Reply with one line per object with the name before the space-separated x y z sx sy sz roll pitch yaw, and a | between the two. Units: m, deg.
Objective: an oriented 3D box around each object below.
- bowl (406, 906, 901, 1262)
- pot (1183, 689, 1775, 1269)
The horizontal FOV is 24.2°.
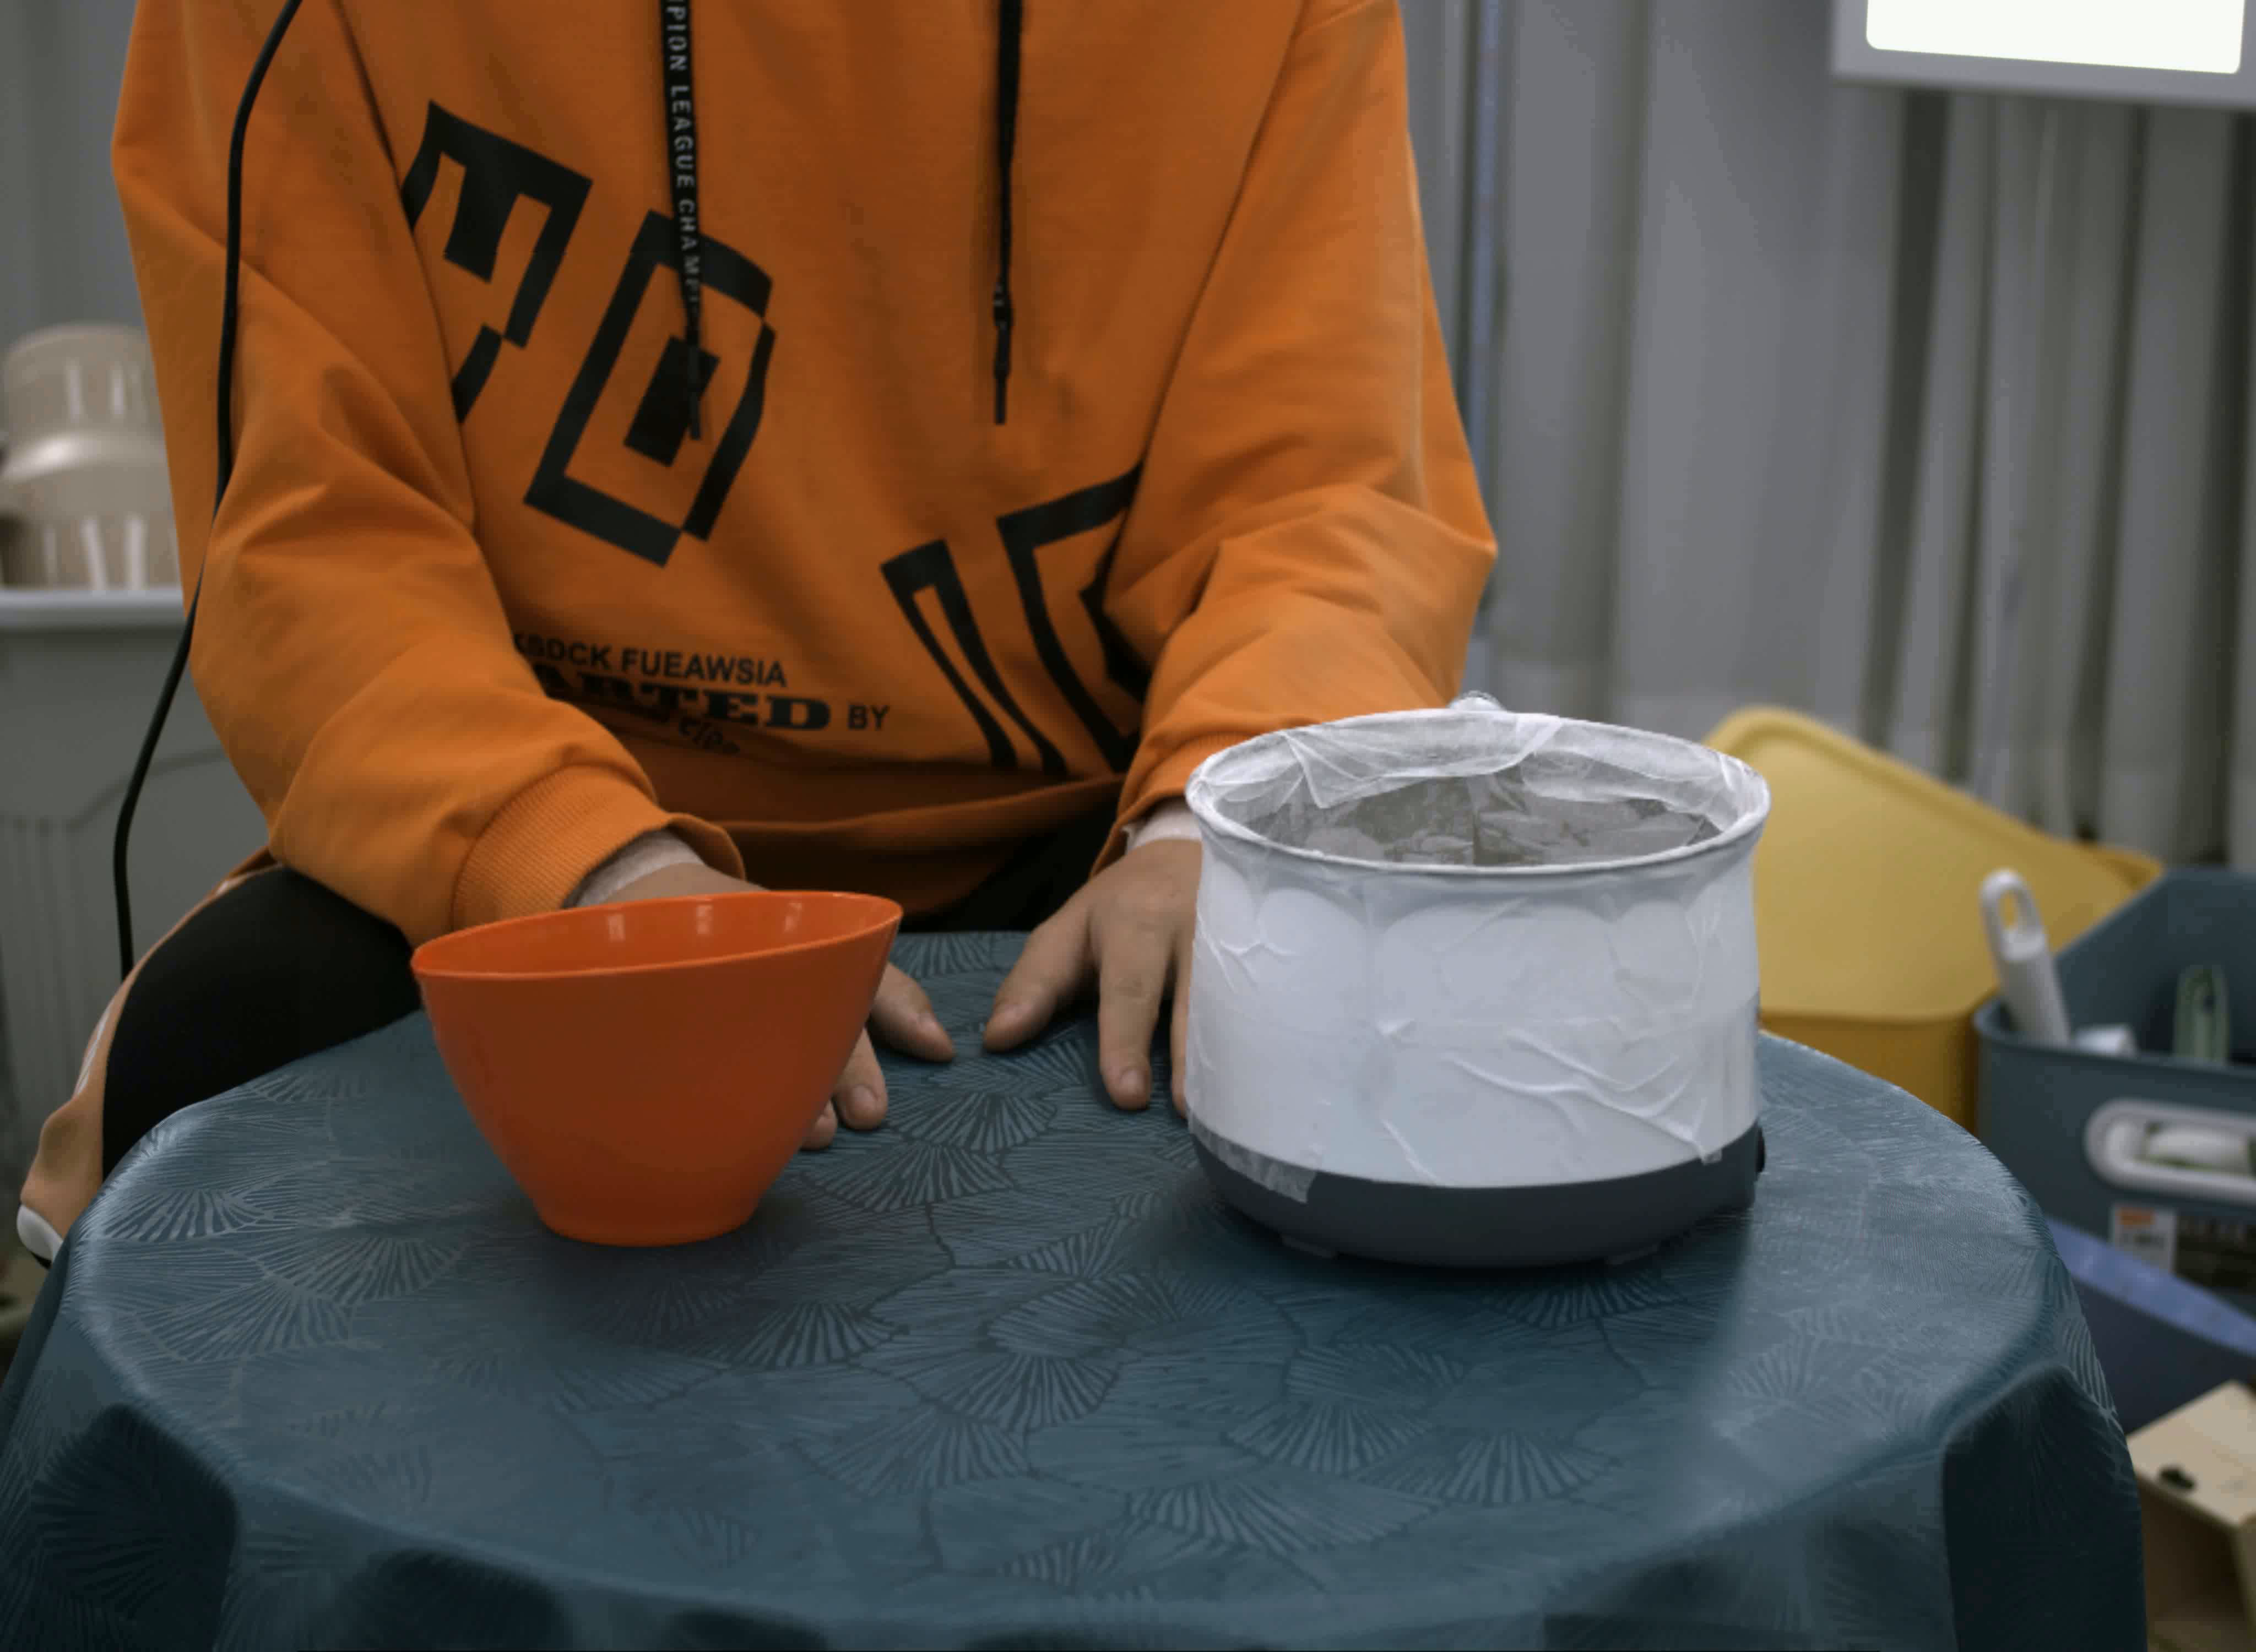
bowl | -0.141 0.074 1.578 0.147 0.105 0.147 0 14 0
pot | 0.105 0.042 1.623 0.178 0.138 0.232 1 16 1
